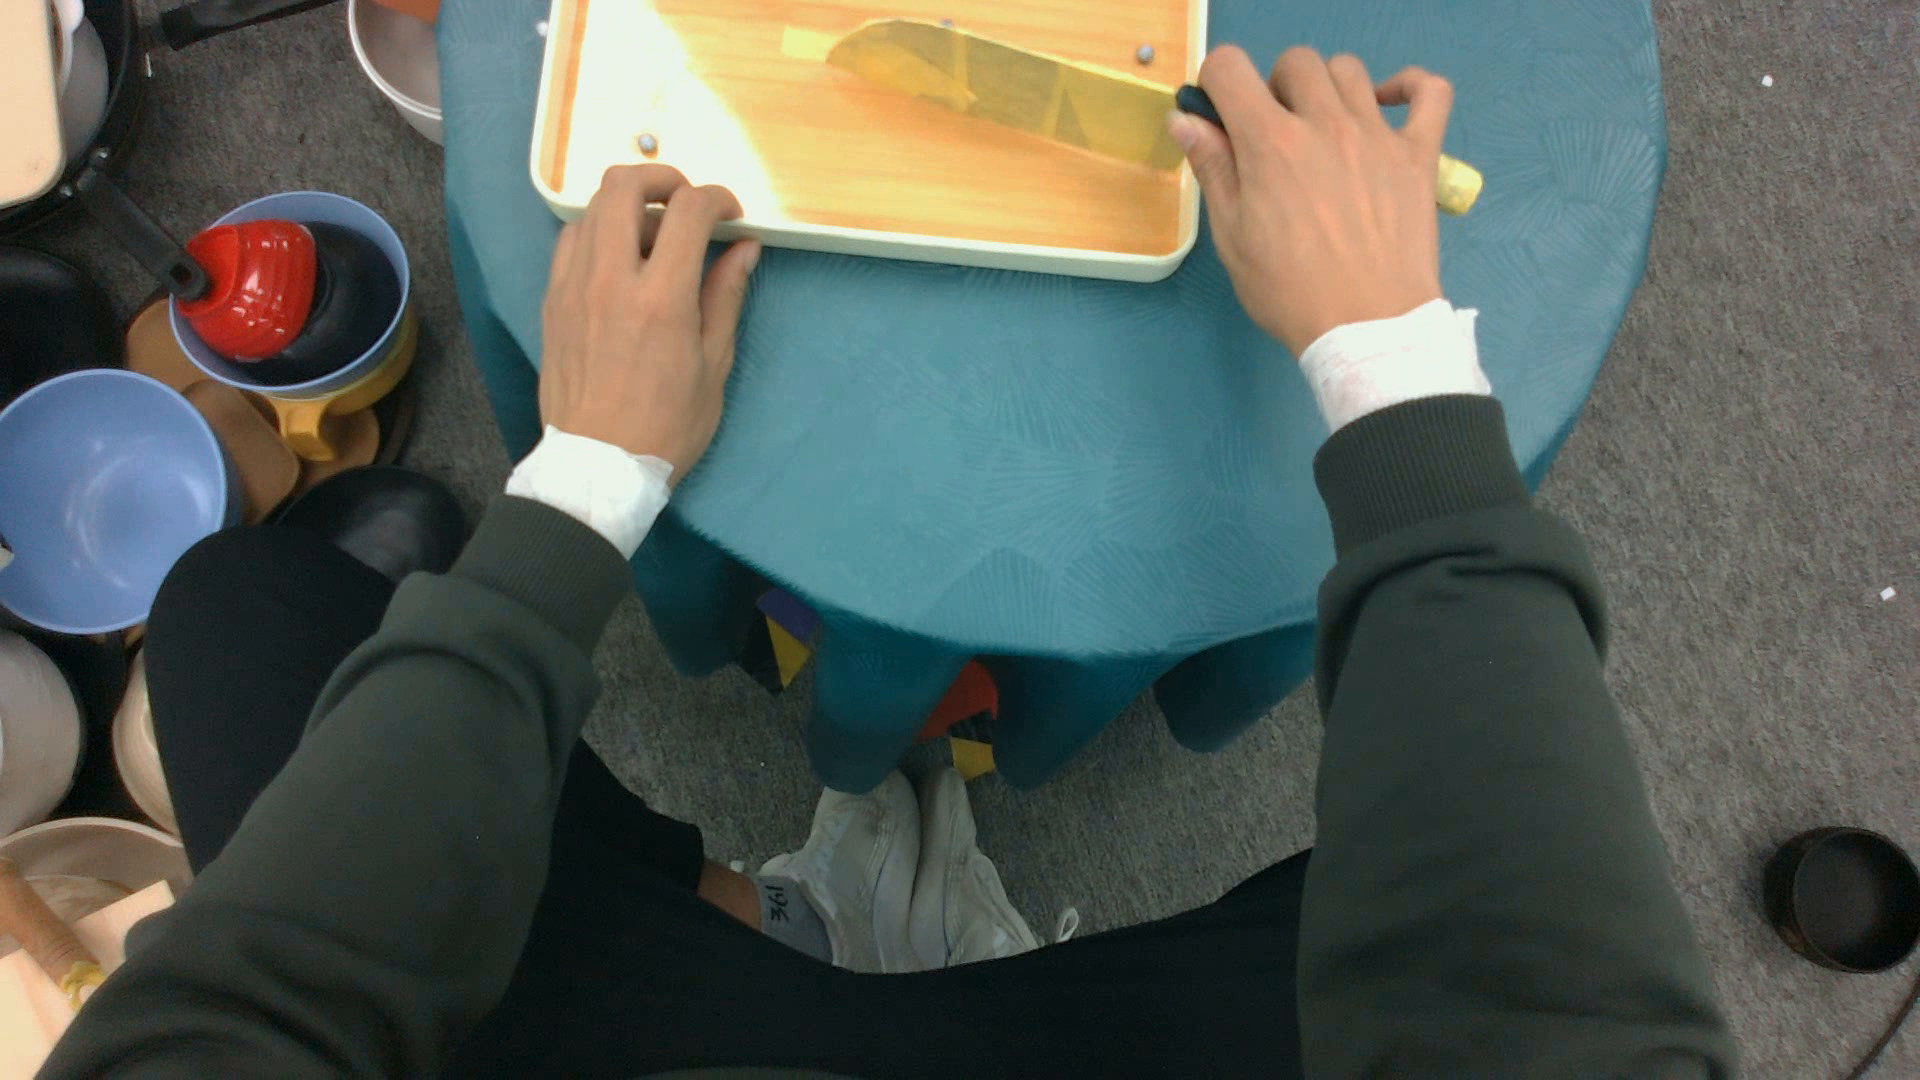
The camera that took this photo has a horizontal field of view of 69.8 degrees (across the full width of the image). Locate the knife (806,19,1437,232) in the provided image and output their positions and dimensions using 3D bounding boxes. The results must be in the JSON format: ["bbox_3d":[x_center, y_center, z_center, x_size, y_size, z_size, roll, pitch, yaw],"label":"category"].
[{"bbox_3d":[0.068,-0.184,0.615,0.289,0.081,0.027,17,85,3],"label":"knife"}]

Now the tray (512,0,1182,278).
[{"bbox_3d":[-0.046,-0.227,0.648,0.300,0.027,0.192,4,78,-4],"label":"tray"}]
